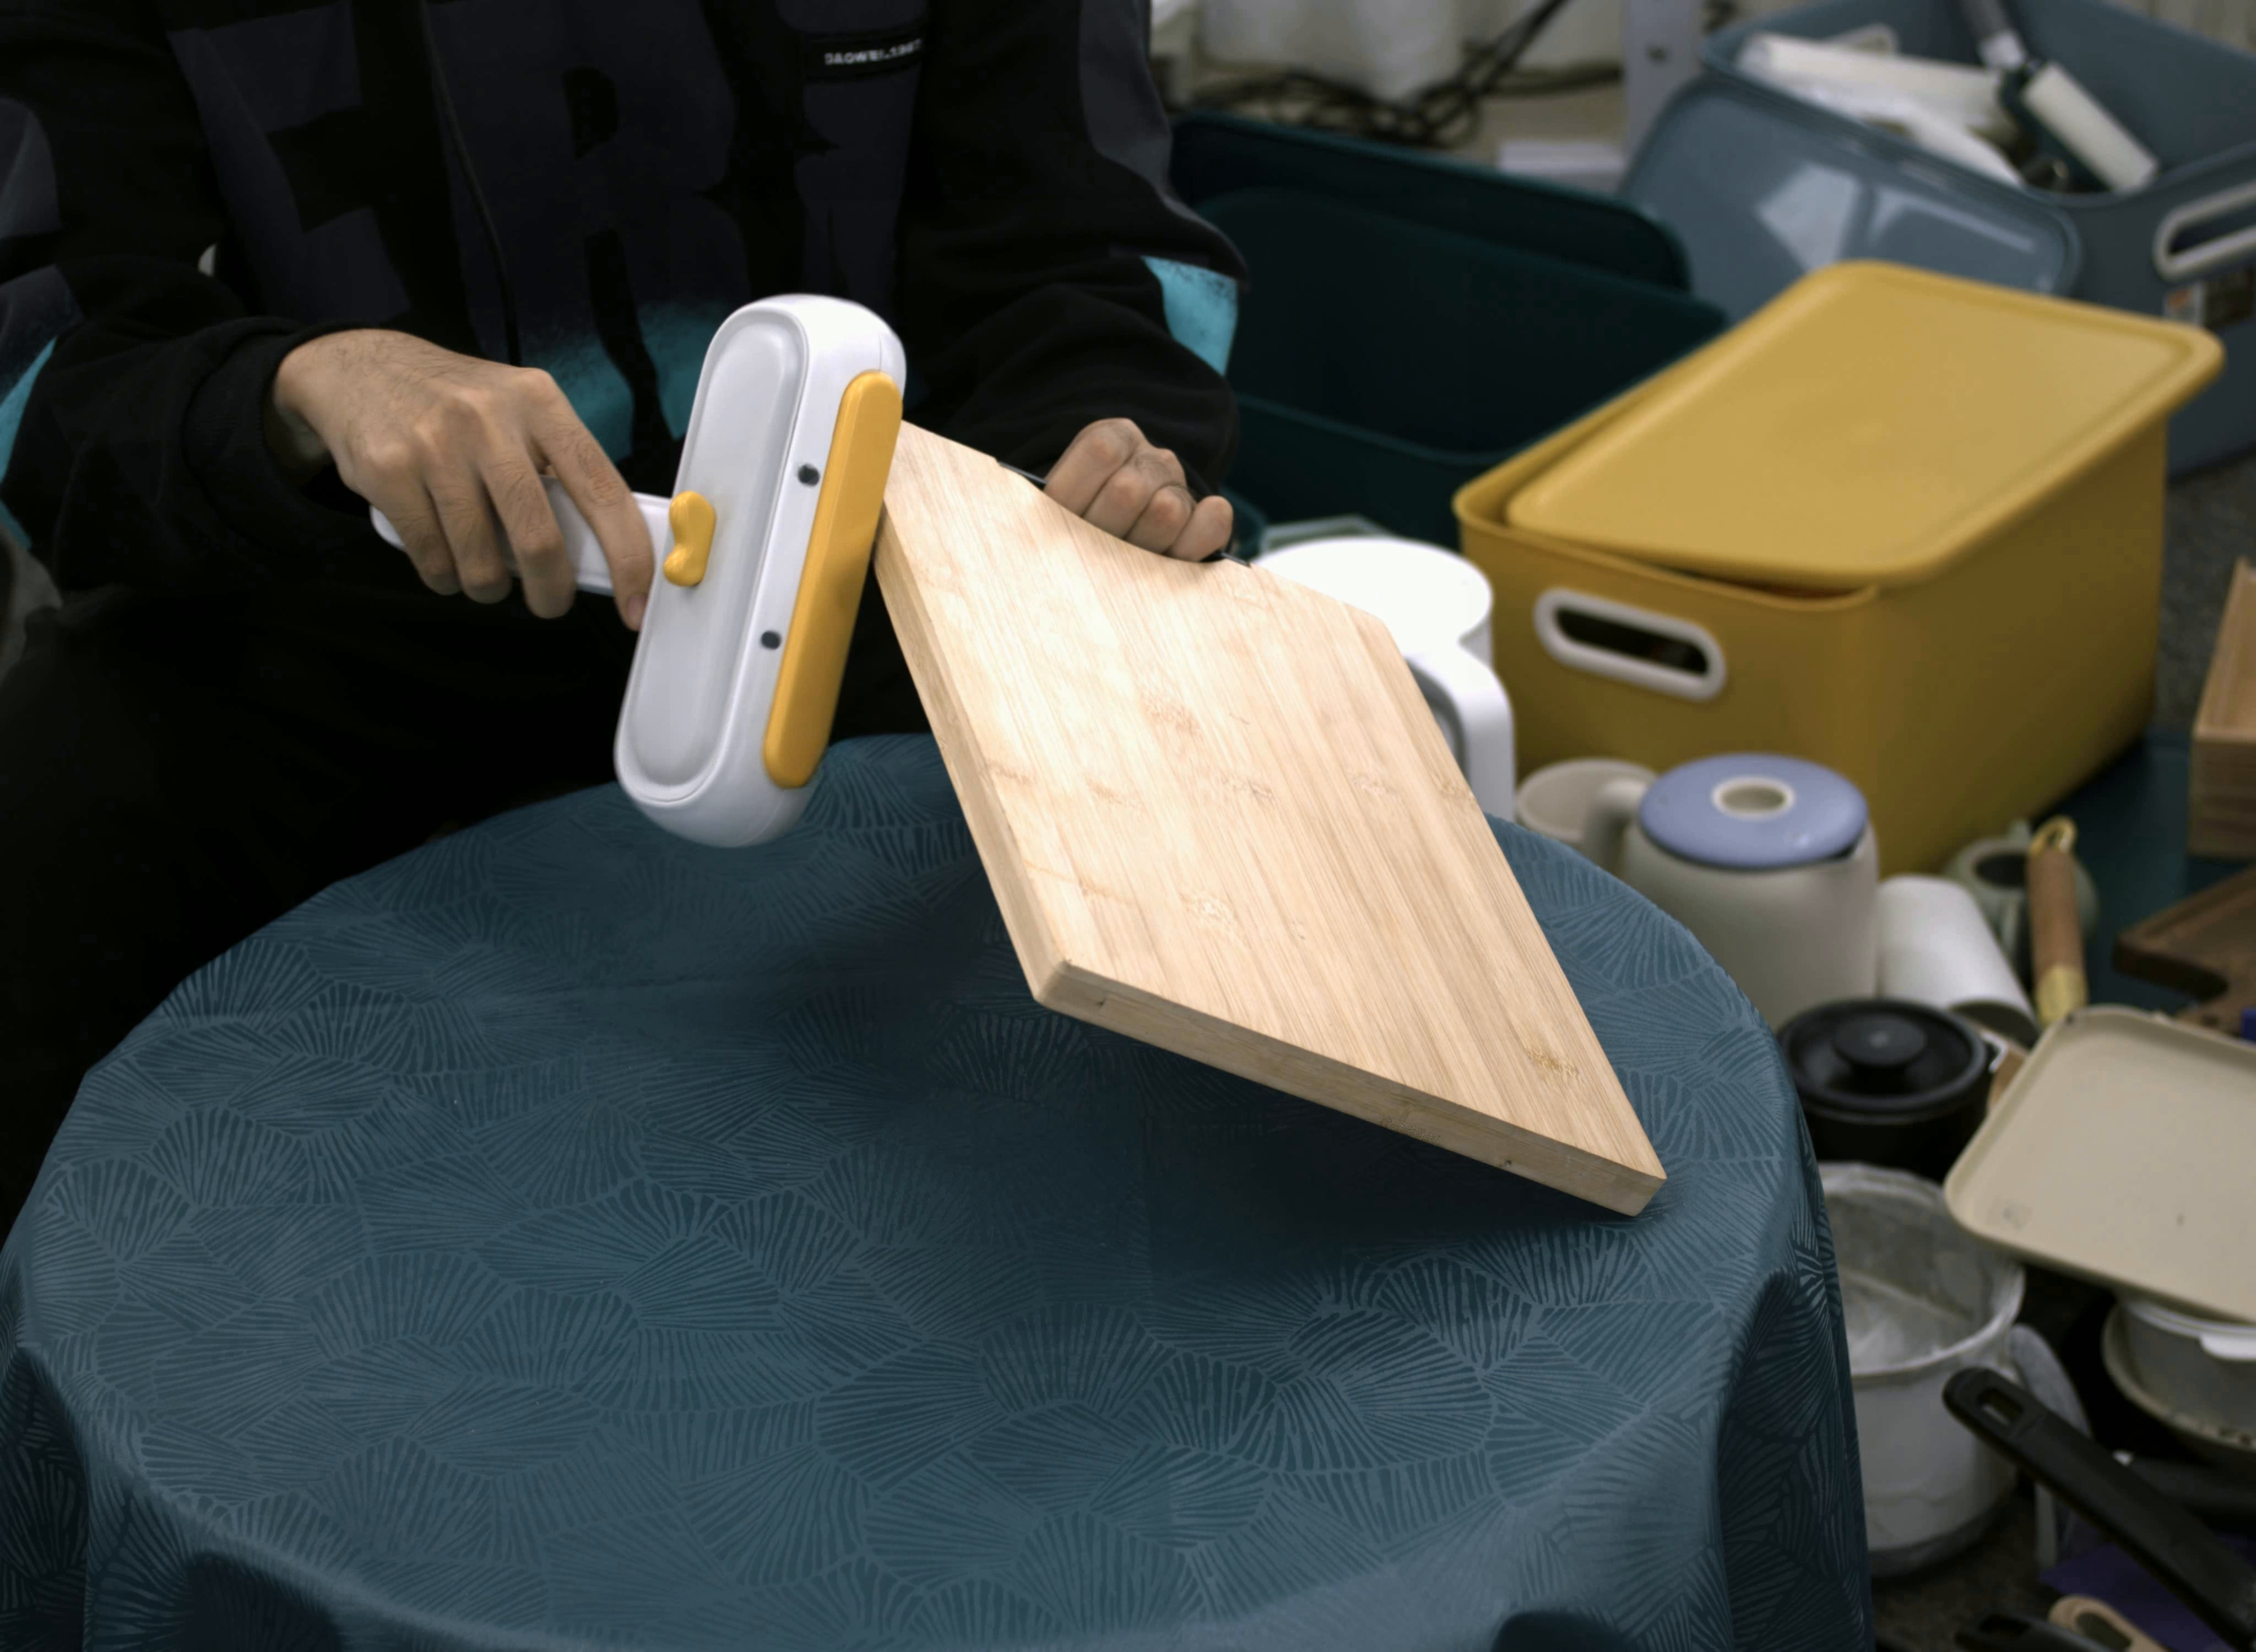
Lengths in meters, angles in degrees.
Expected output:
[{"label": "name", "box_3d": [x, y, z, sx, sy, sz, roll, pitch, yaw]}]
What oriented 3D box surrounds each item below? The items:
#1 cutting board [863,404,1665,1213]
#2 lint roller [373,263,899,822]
[{"label": "cutting board", "box_3d": [0.032, -0.013, 1.915, 0.250, 0.023, 0.353, 21, 26, -29]}, {"label": "lint roller", "box_3d": [-0.174, -0.102, 1.954, 0.191, 0.194, 0.074, 4, -5, 35]}]
